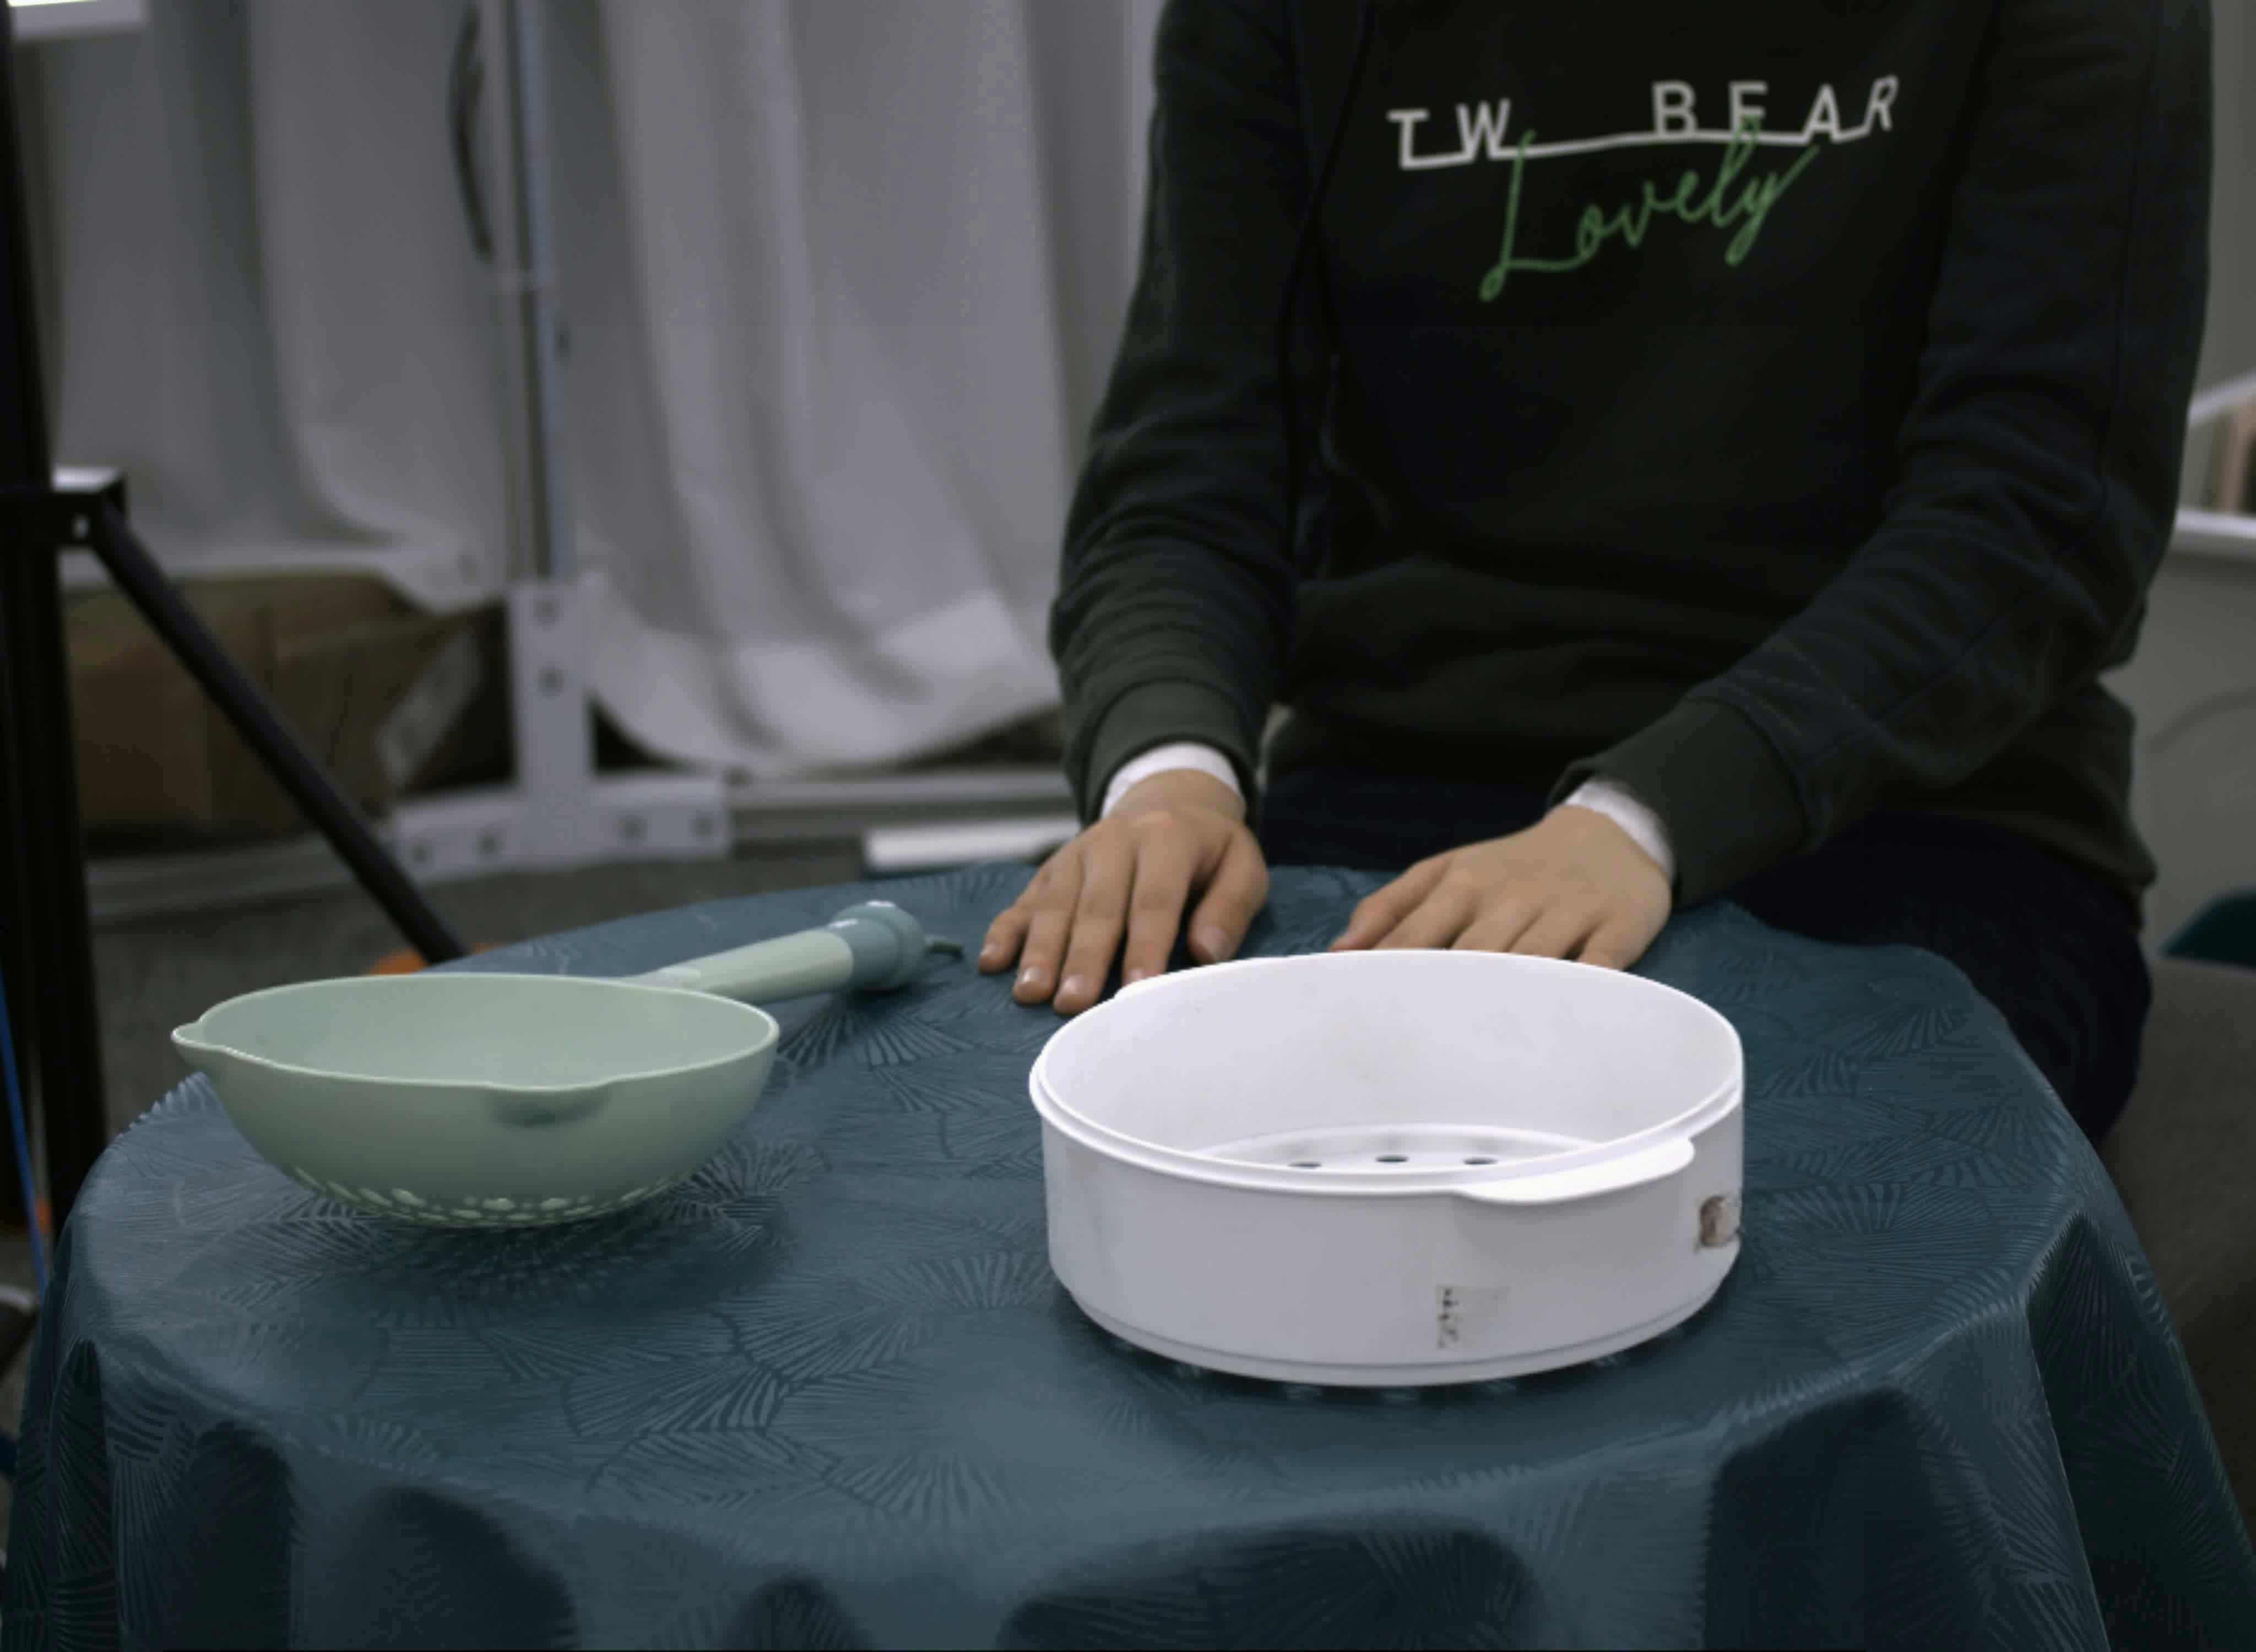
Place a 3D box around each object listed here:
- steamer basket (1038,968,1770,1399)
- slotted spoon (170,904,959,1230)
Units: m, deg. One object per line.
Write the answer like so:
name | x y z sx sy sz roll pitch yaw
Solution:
steamer basket | 0.076 0.098 1.464 0.197 0.069 0.235 -9 16 -27
slotted spoon | -0.143 0.058 1.639 0.172 0.075 0.353 6 18 26
